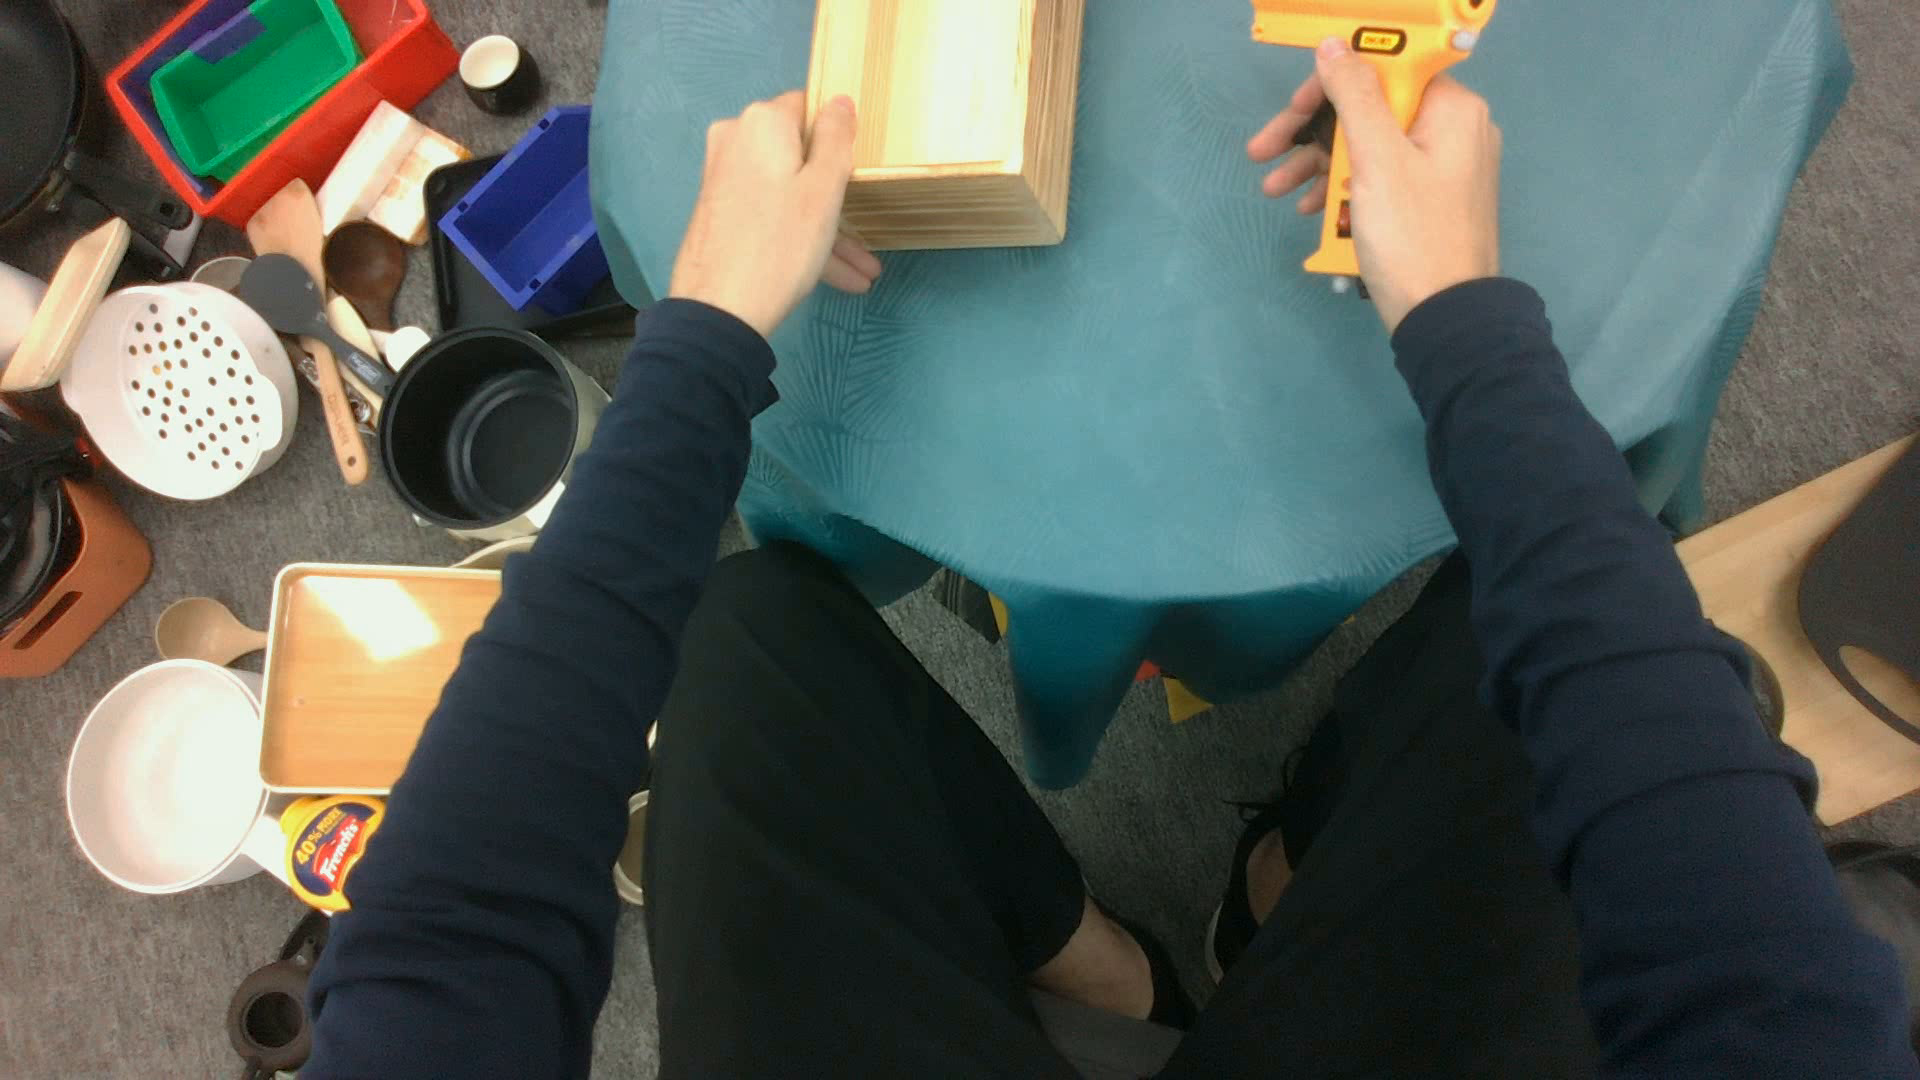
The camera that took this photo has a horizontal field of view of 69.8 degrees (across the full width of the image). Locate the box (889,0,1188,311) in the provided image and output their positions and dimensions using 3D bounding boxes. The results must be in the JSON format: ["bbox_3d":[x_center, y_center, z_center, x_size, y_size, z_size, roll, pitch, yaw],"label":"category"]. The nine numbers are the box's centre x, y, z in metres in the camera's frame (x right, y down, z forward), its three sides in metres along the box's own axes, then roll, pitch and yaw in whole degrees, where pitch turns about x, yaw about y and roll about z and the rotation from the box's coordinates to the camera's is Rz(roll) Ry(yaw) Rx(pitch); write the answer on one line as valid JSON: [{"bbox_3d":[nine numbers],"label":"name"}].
[{"bbox_3d":[0.045,-0.226,0.681,0.107,0.080,0.212,4,77,22],"label":"box"}]

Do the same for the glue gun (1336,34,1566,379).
[{"bbox_3d":[0.198,-0.158,0.608,0.031,0.151,0.132,-6,119,-14],"label":"glue gun"}]
